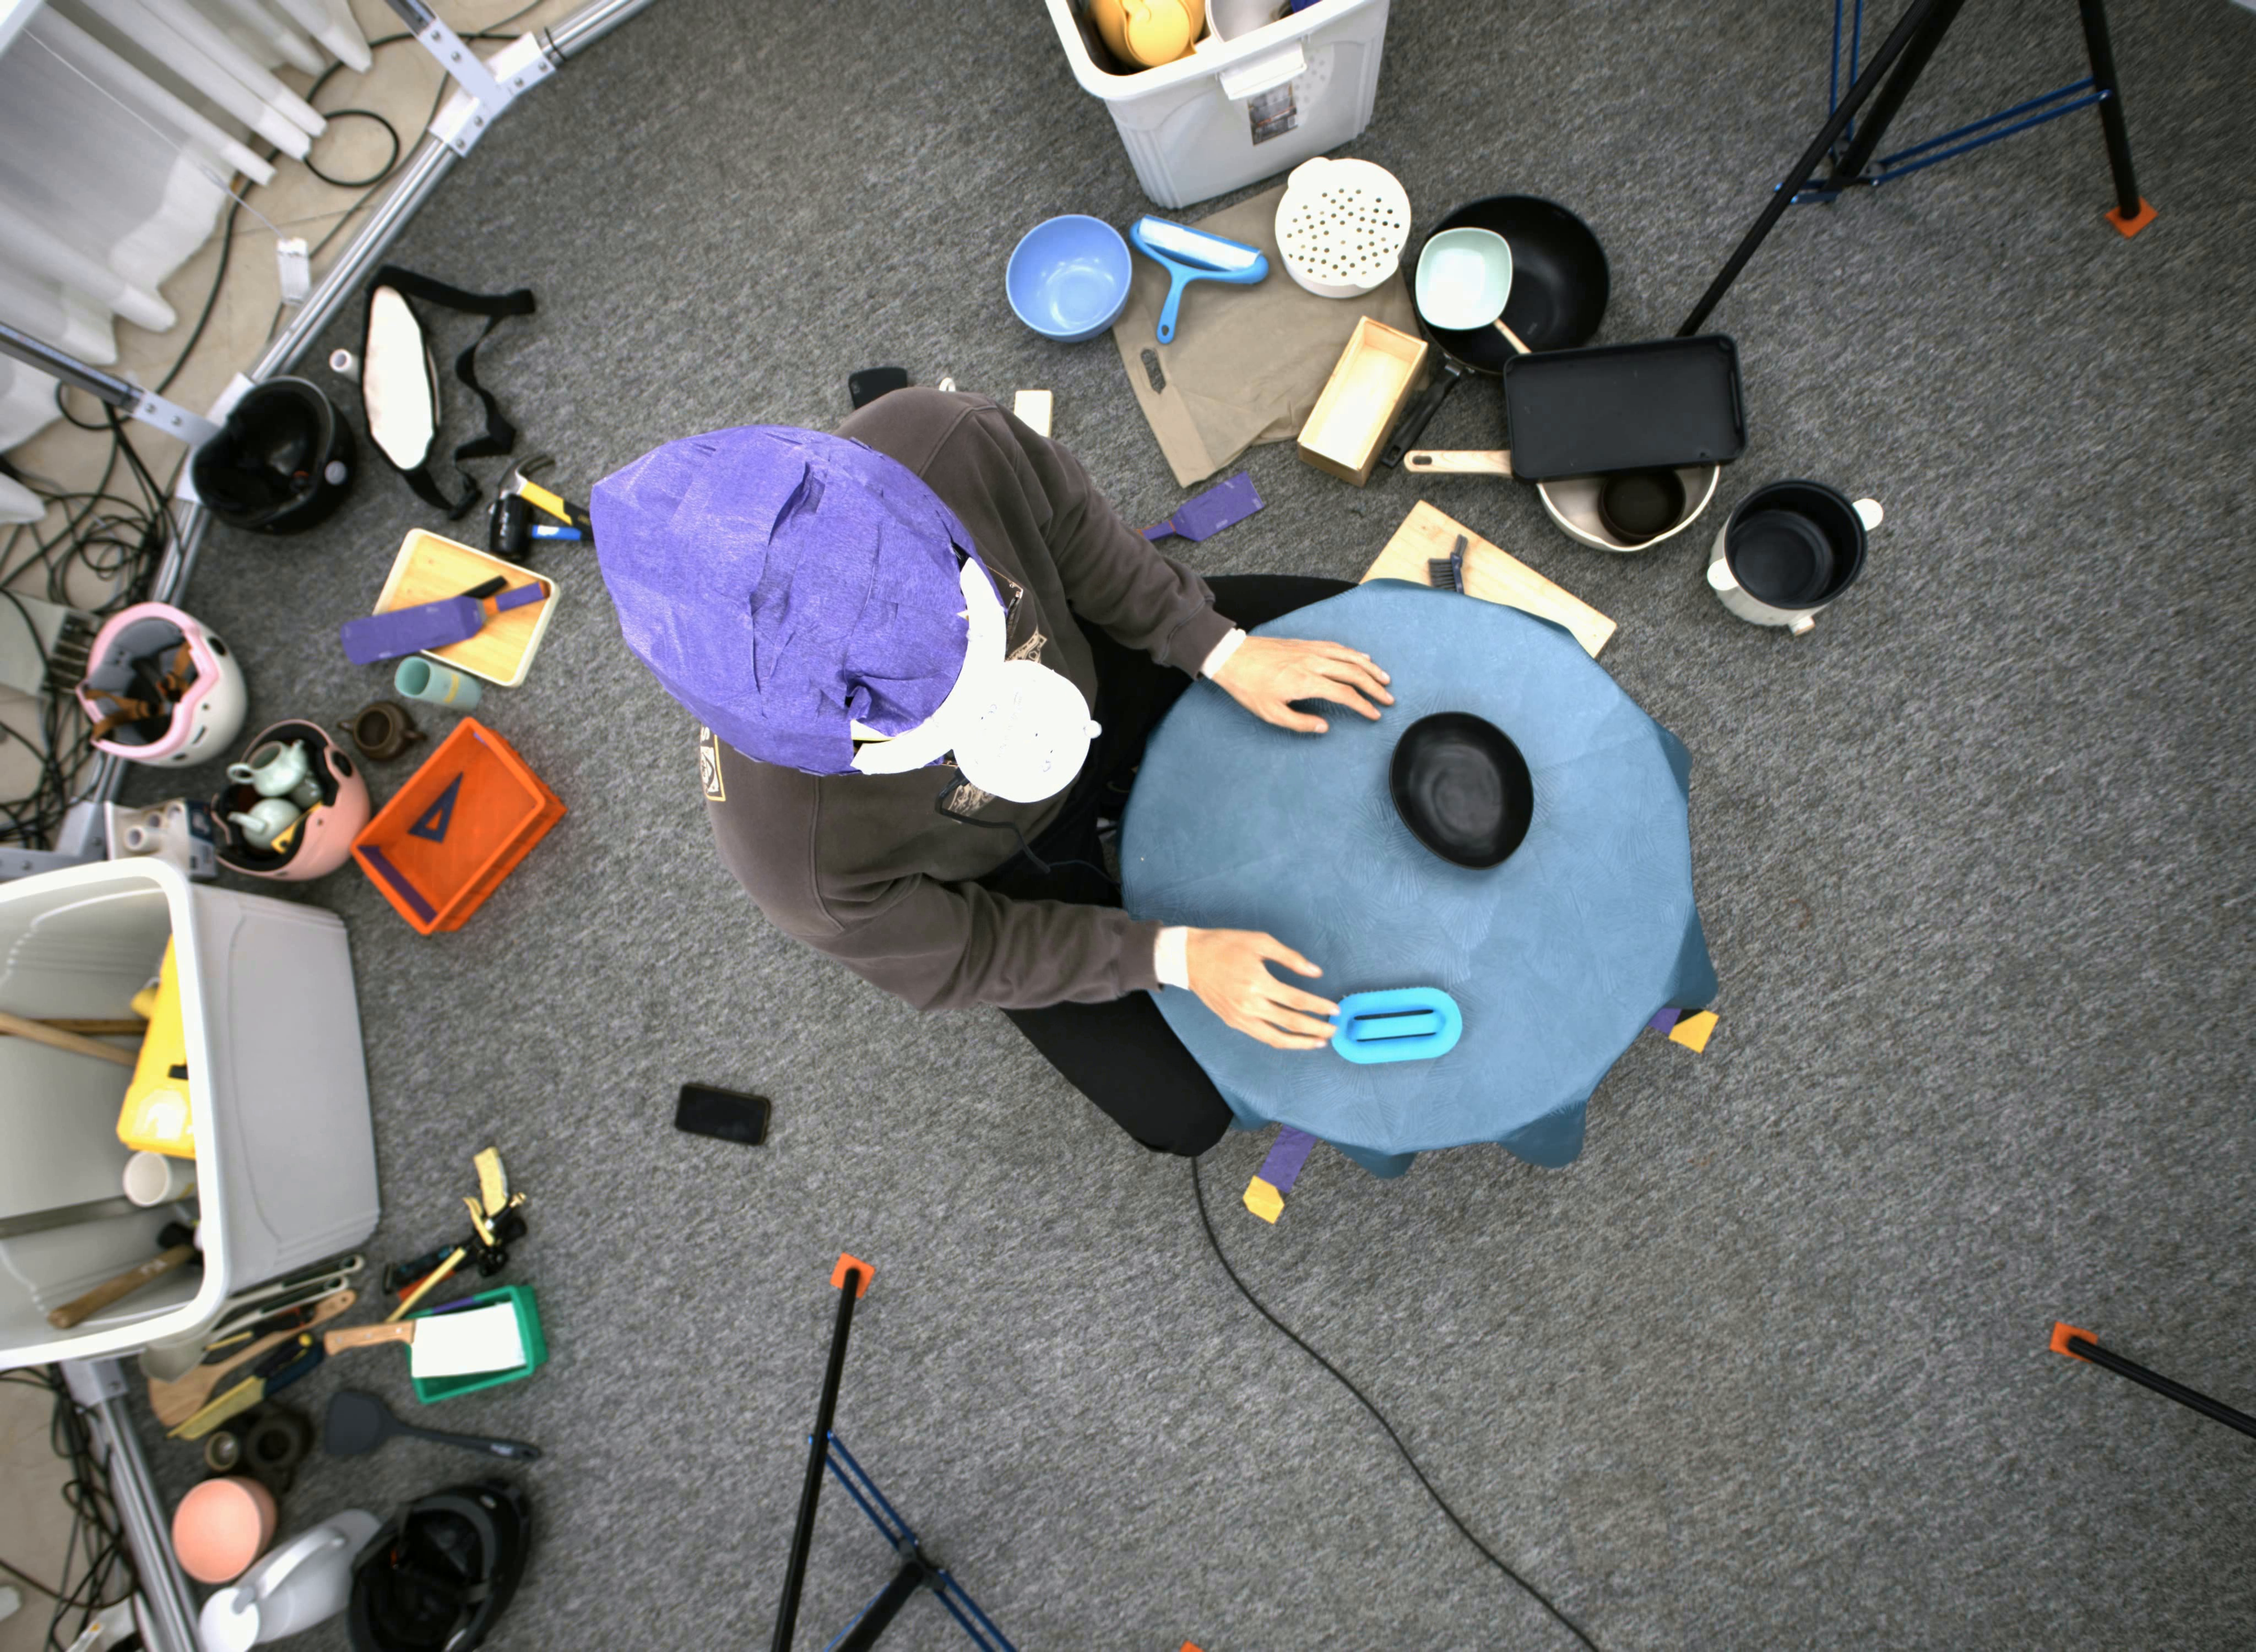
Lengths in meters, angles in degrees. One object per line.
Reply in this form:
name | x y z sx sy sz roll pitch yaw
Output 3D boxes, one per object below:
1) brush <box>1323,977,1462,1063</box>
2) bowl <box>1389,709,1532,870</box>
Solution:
brush | 0.271 0.200 1.418 0.142 0.063 0.084 -4 90 11
bowl | 0.342 -0.038 1.417 0.138 0.066 0.169 -28 84 8
